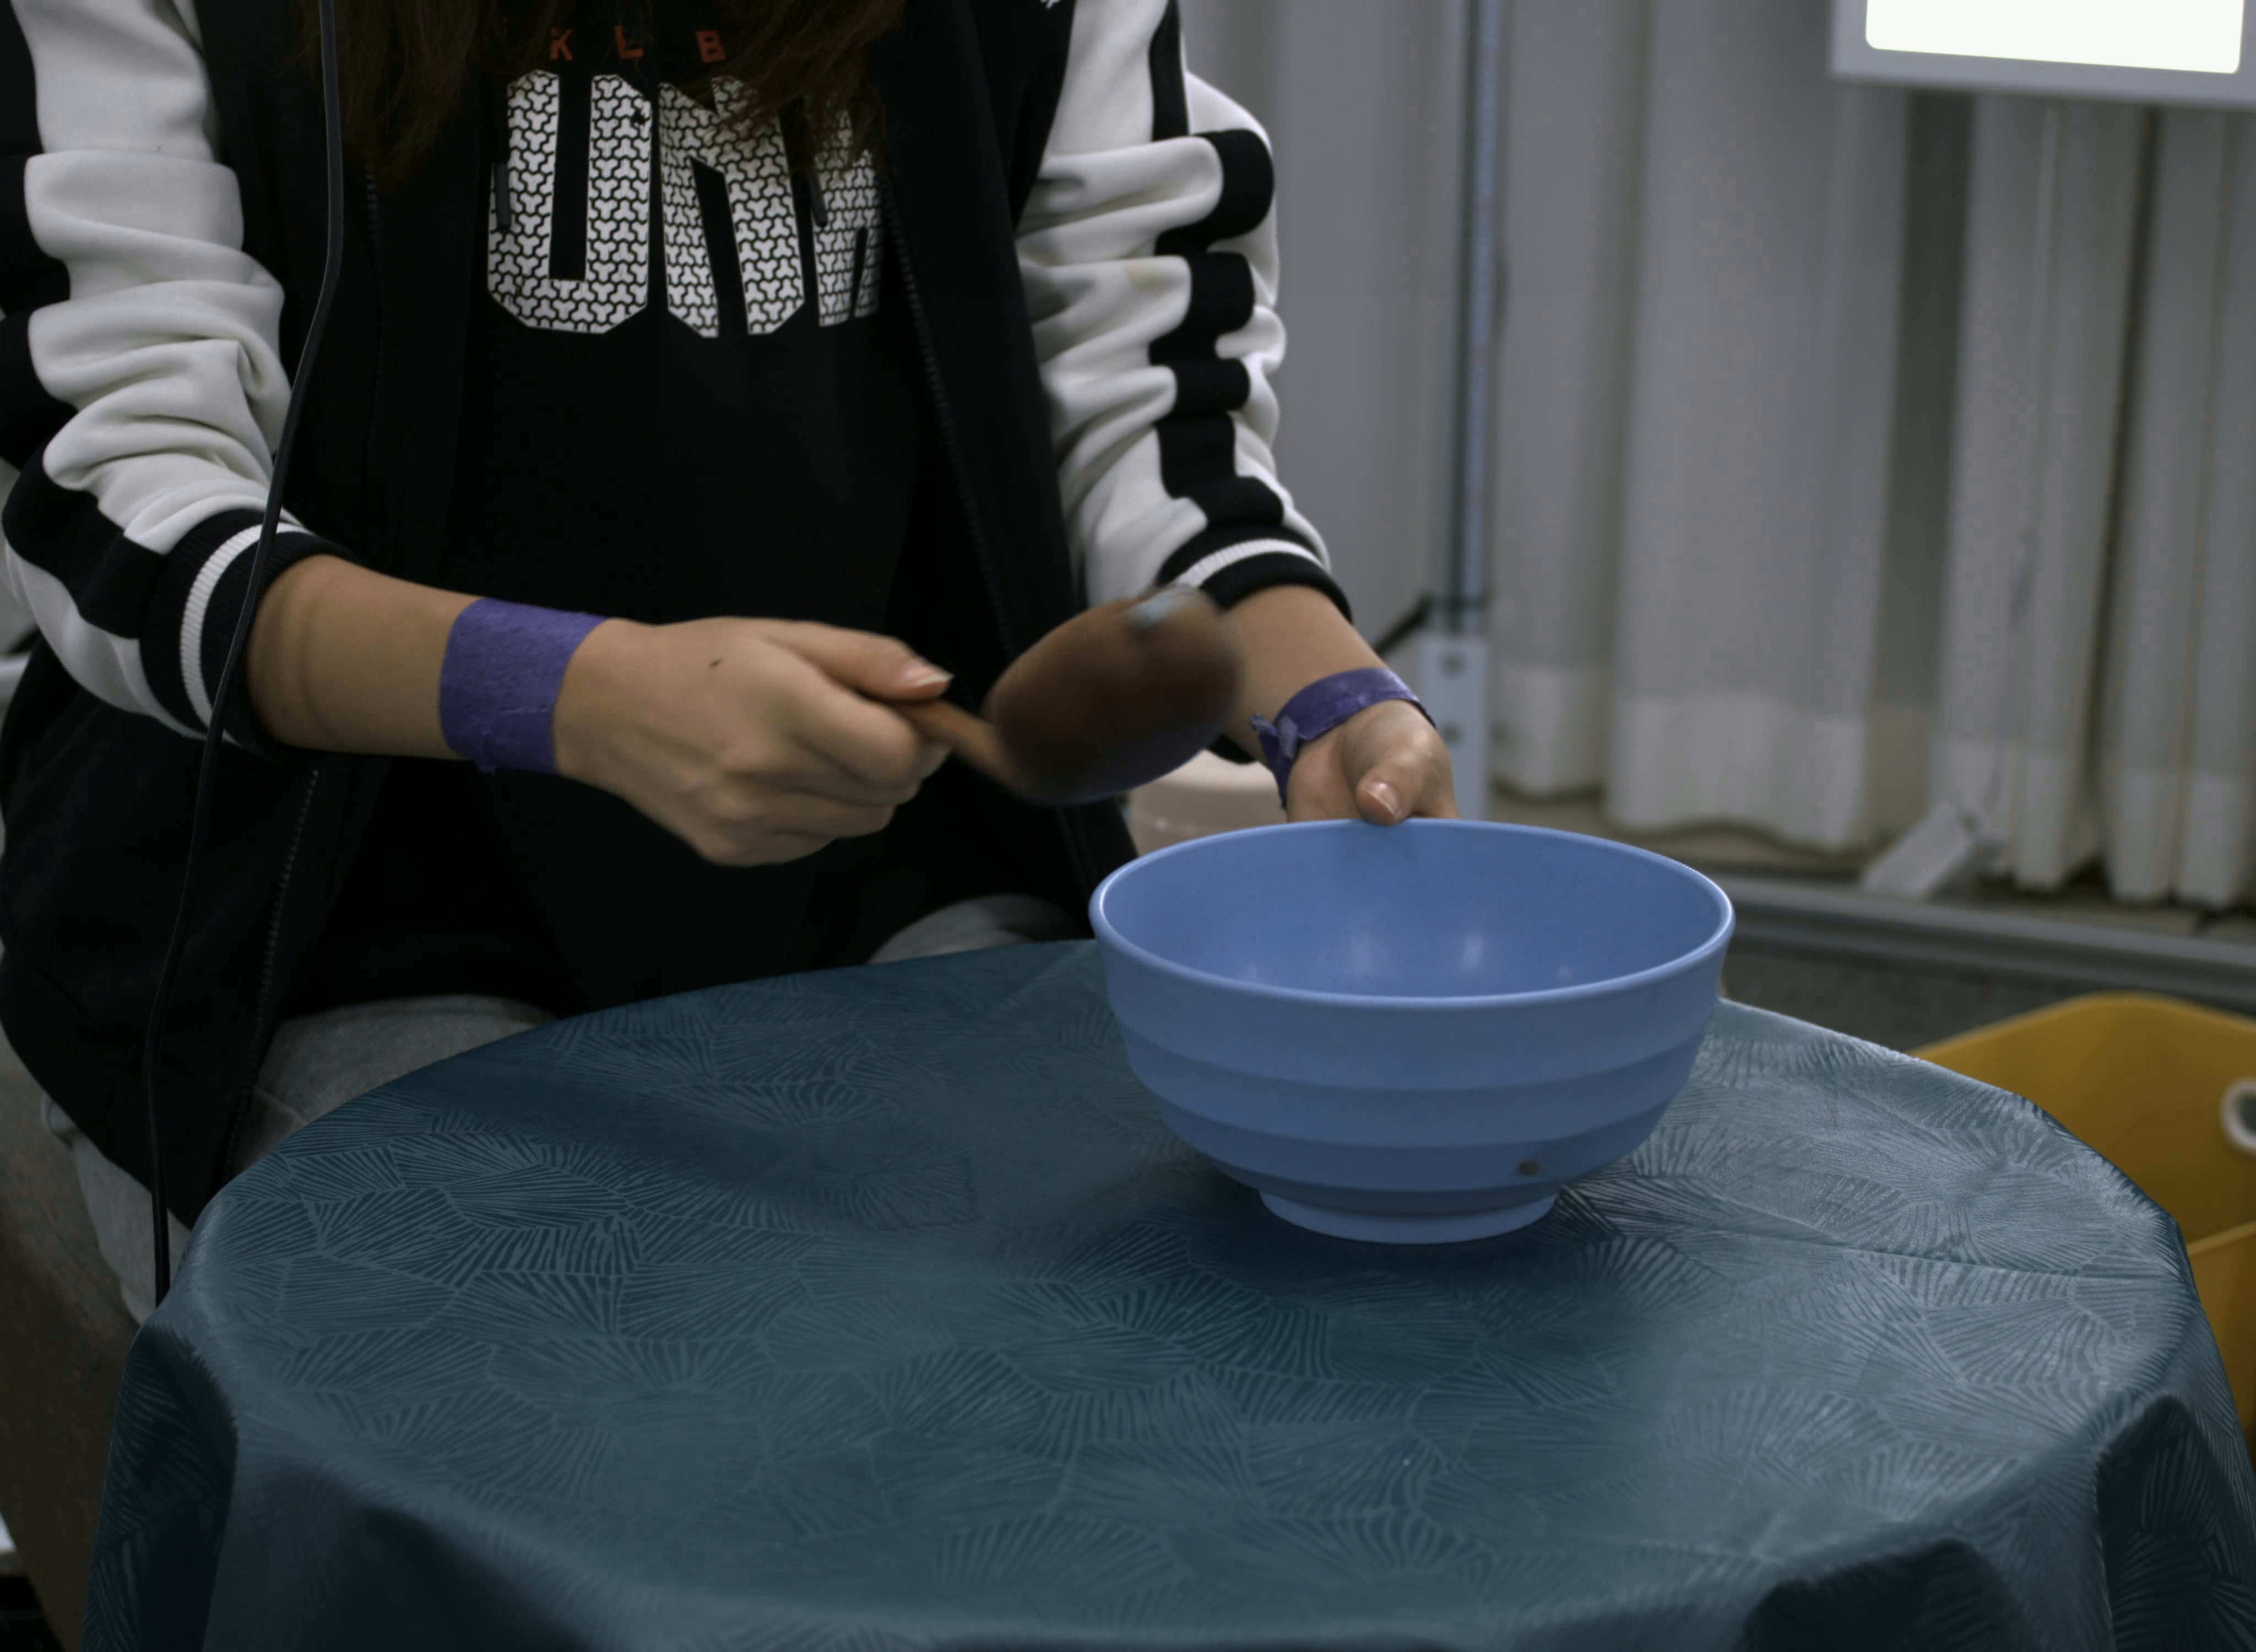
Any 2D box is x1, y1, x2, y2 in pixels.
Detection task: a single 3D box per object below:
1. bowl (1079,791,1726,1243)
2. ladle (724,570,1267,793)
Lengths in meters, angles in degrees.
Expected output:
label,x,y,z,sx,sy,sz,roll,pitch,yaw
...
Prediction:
label,x,y,z,sx,sy,sz,roll,pitch,yaw
bowl,0.085,0.066,1.615,0.196,0.096,0.195,-2,21,1
ladle,-0.049,-0.046,1.568,0.077,0.065,0.257,7,0,-33
